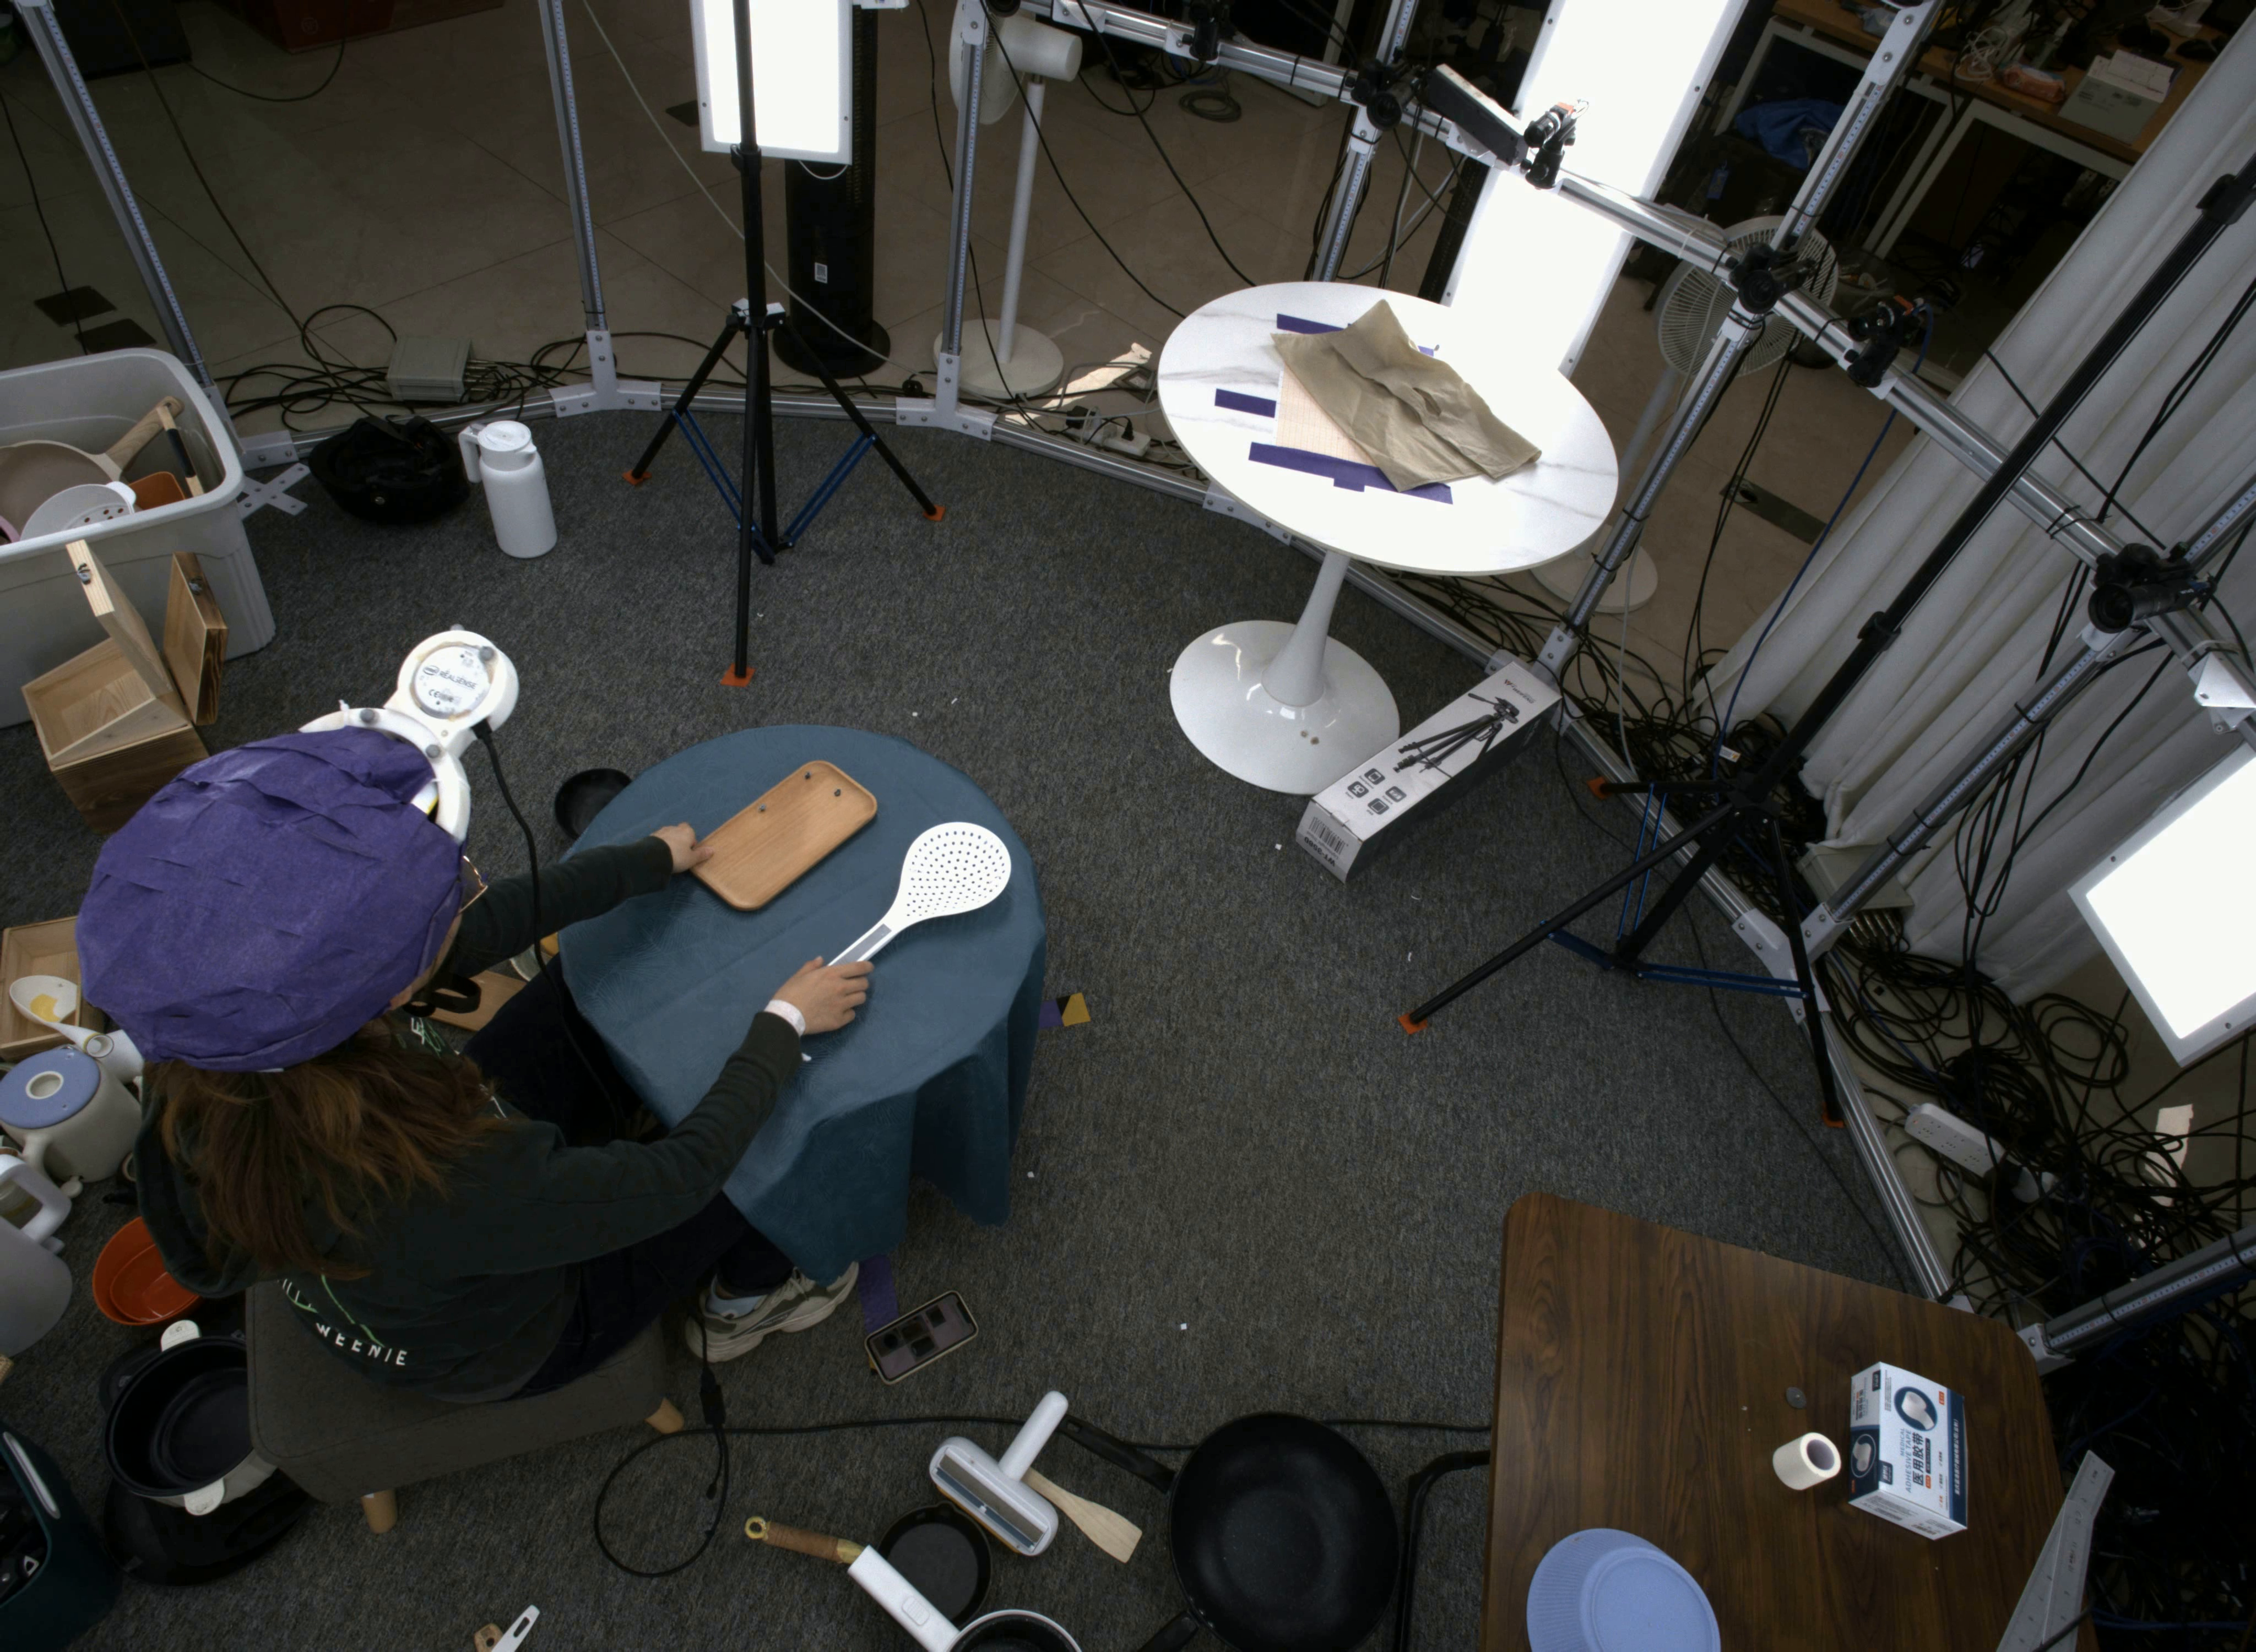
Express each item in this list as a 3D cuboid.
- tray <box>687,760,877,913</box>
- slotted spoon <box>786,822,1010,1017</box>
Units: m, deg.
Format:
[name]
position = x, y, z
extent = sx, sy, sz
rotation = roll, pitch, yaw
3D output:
[tray]
position = -0.452, 0.010, 1.704
extent = 0.128, 0.023, 0.250
rotation = 36, 54, 15
[slotted spoon]
position = -0.292, 0.117, 1.647
extent = 0.133, 0.047, 0.350
rotation = 38, 55, 17
